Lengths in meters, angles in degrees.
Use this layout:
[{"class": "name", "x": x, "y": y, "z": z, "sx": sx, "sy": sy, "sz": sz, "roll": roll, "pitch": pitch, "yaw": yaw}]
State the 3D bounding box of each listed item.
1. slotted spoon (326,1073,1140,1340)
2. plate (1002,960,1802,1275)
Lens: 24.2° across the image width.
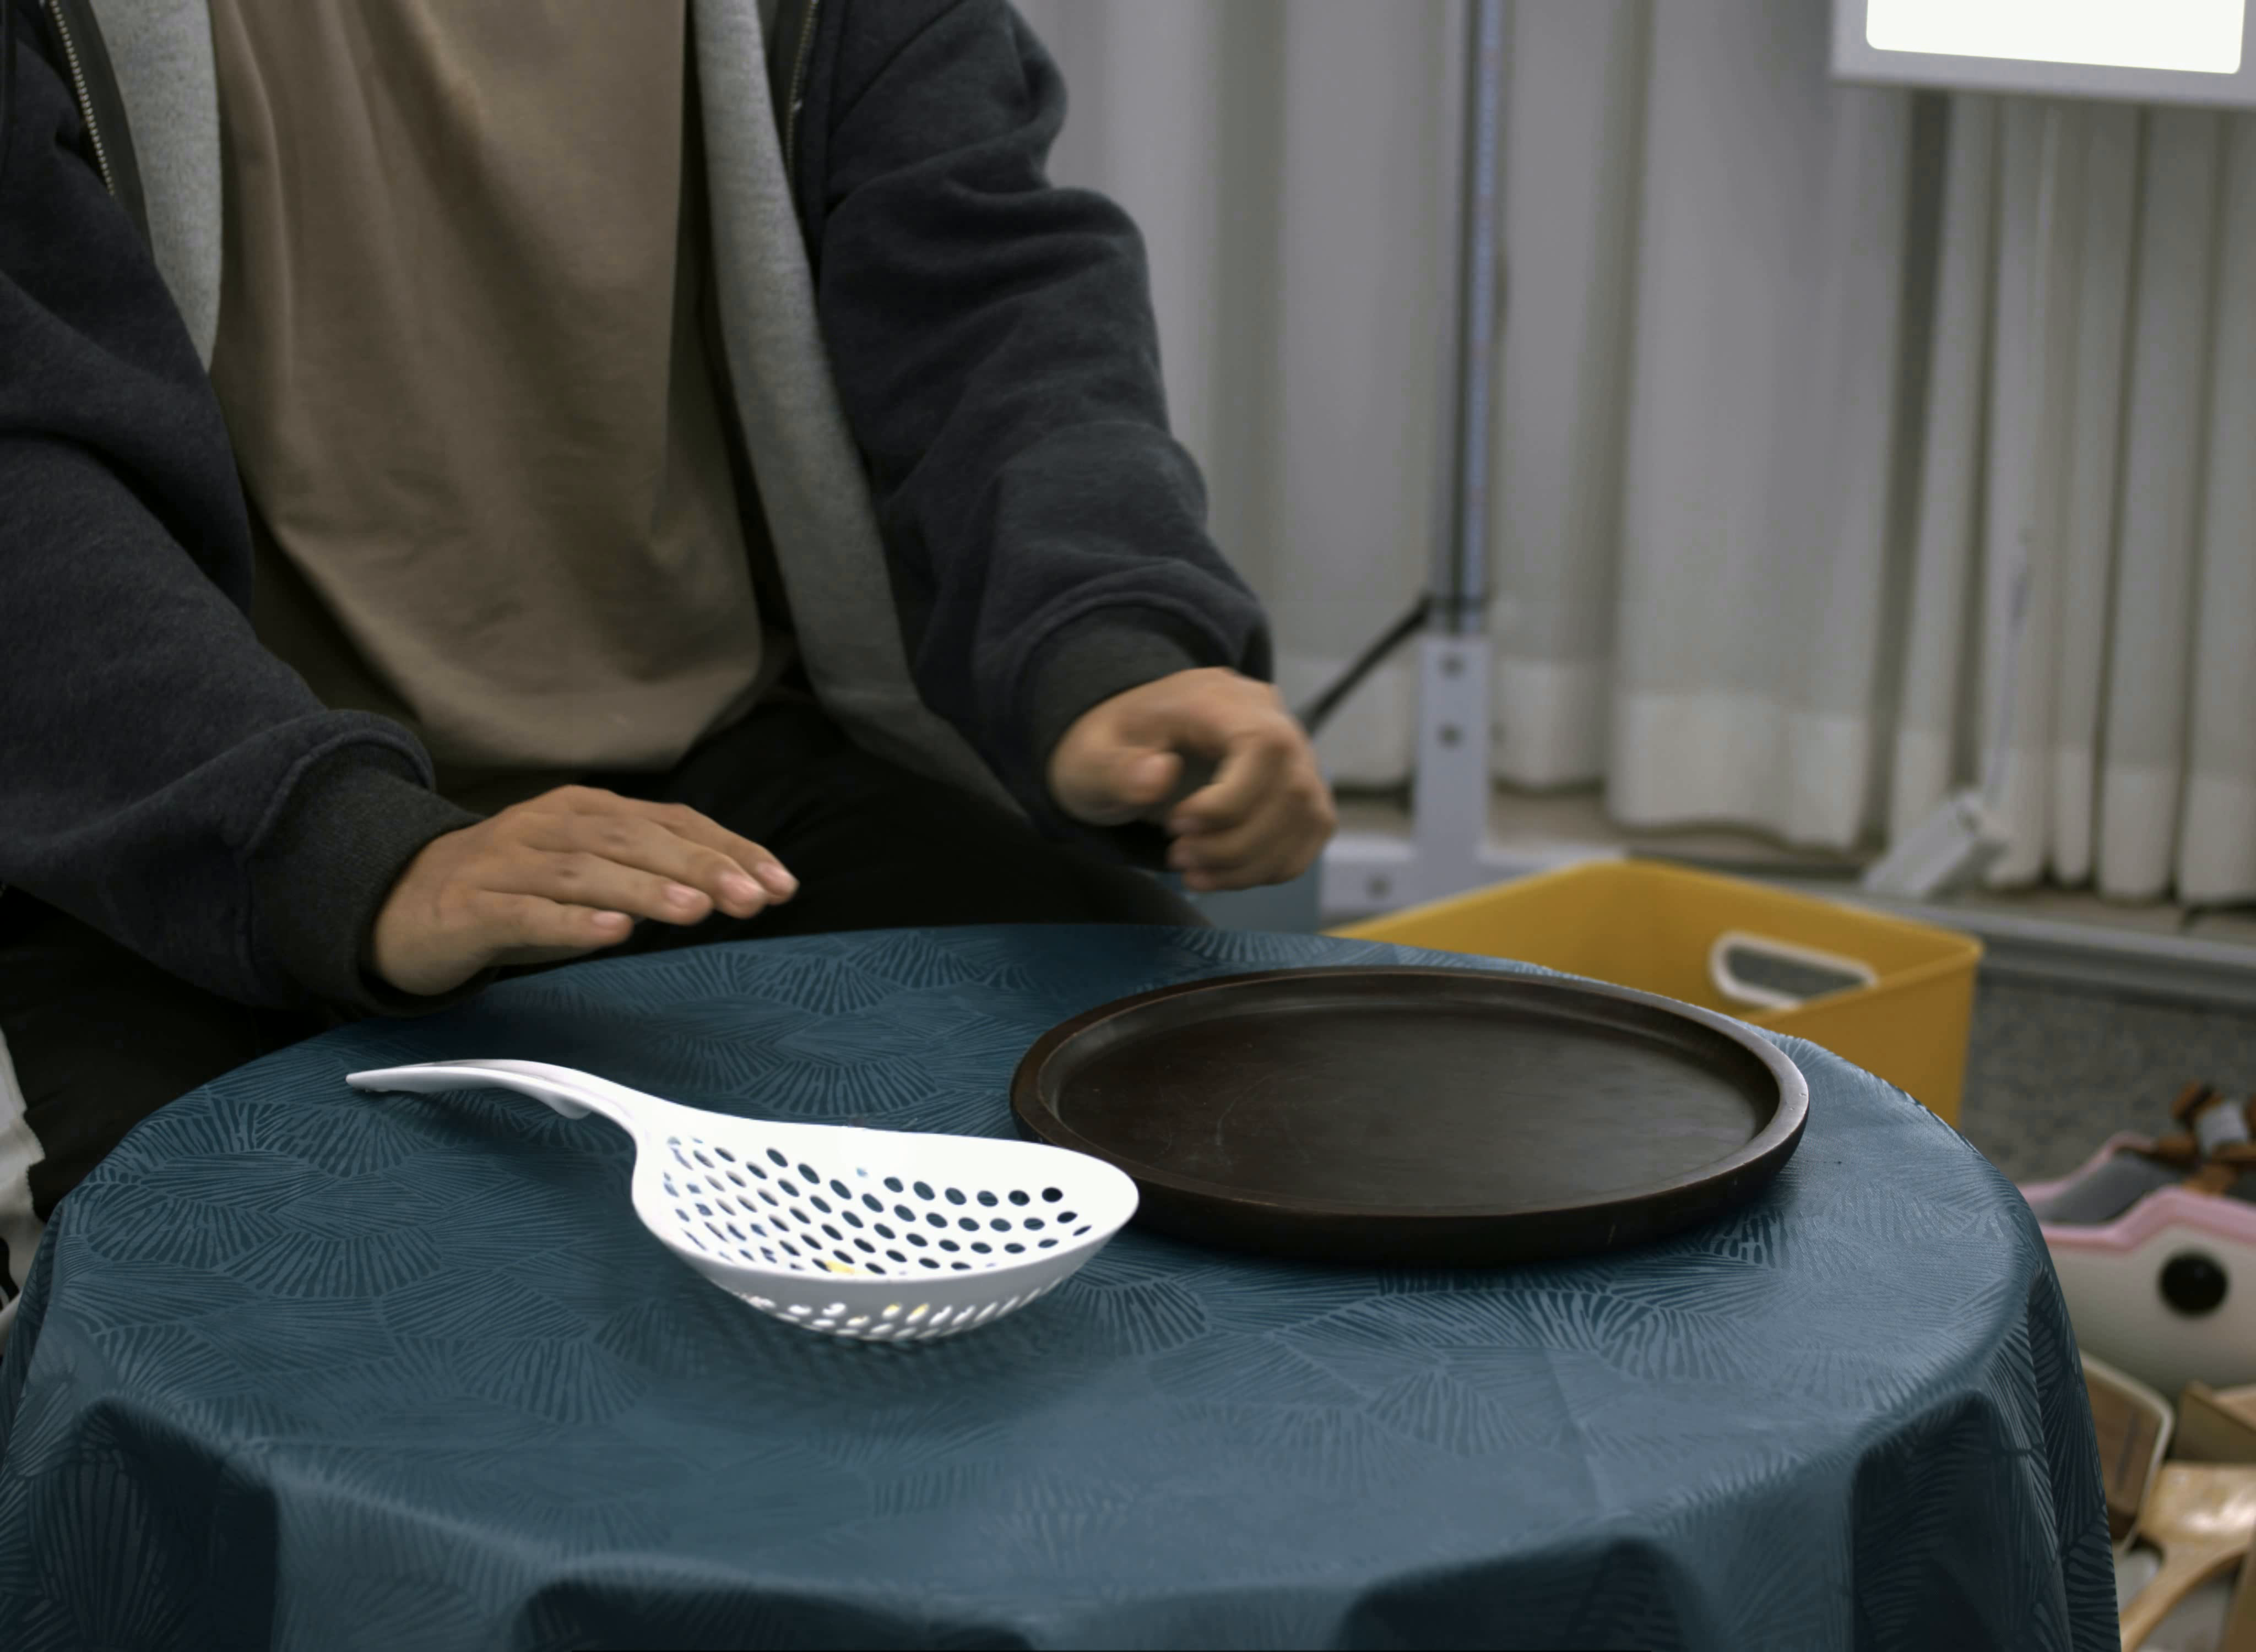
[{"class": "slotted spoon", "x": -0.137, "y": 0.101, "z": 1.582, "sx": 0.137, "sy": 0.051, "sz": 0.343, "roll": -15, "pitch": 22, "yaw": -39}, {"class": "plate", "x": 0.086, "y": 0.090, "z": 1.662, "sx": 0.254, "sy": 0.029, "sz": 0.253, "roll": 0, "pitch": 16, "yaw": 1}]
